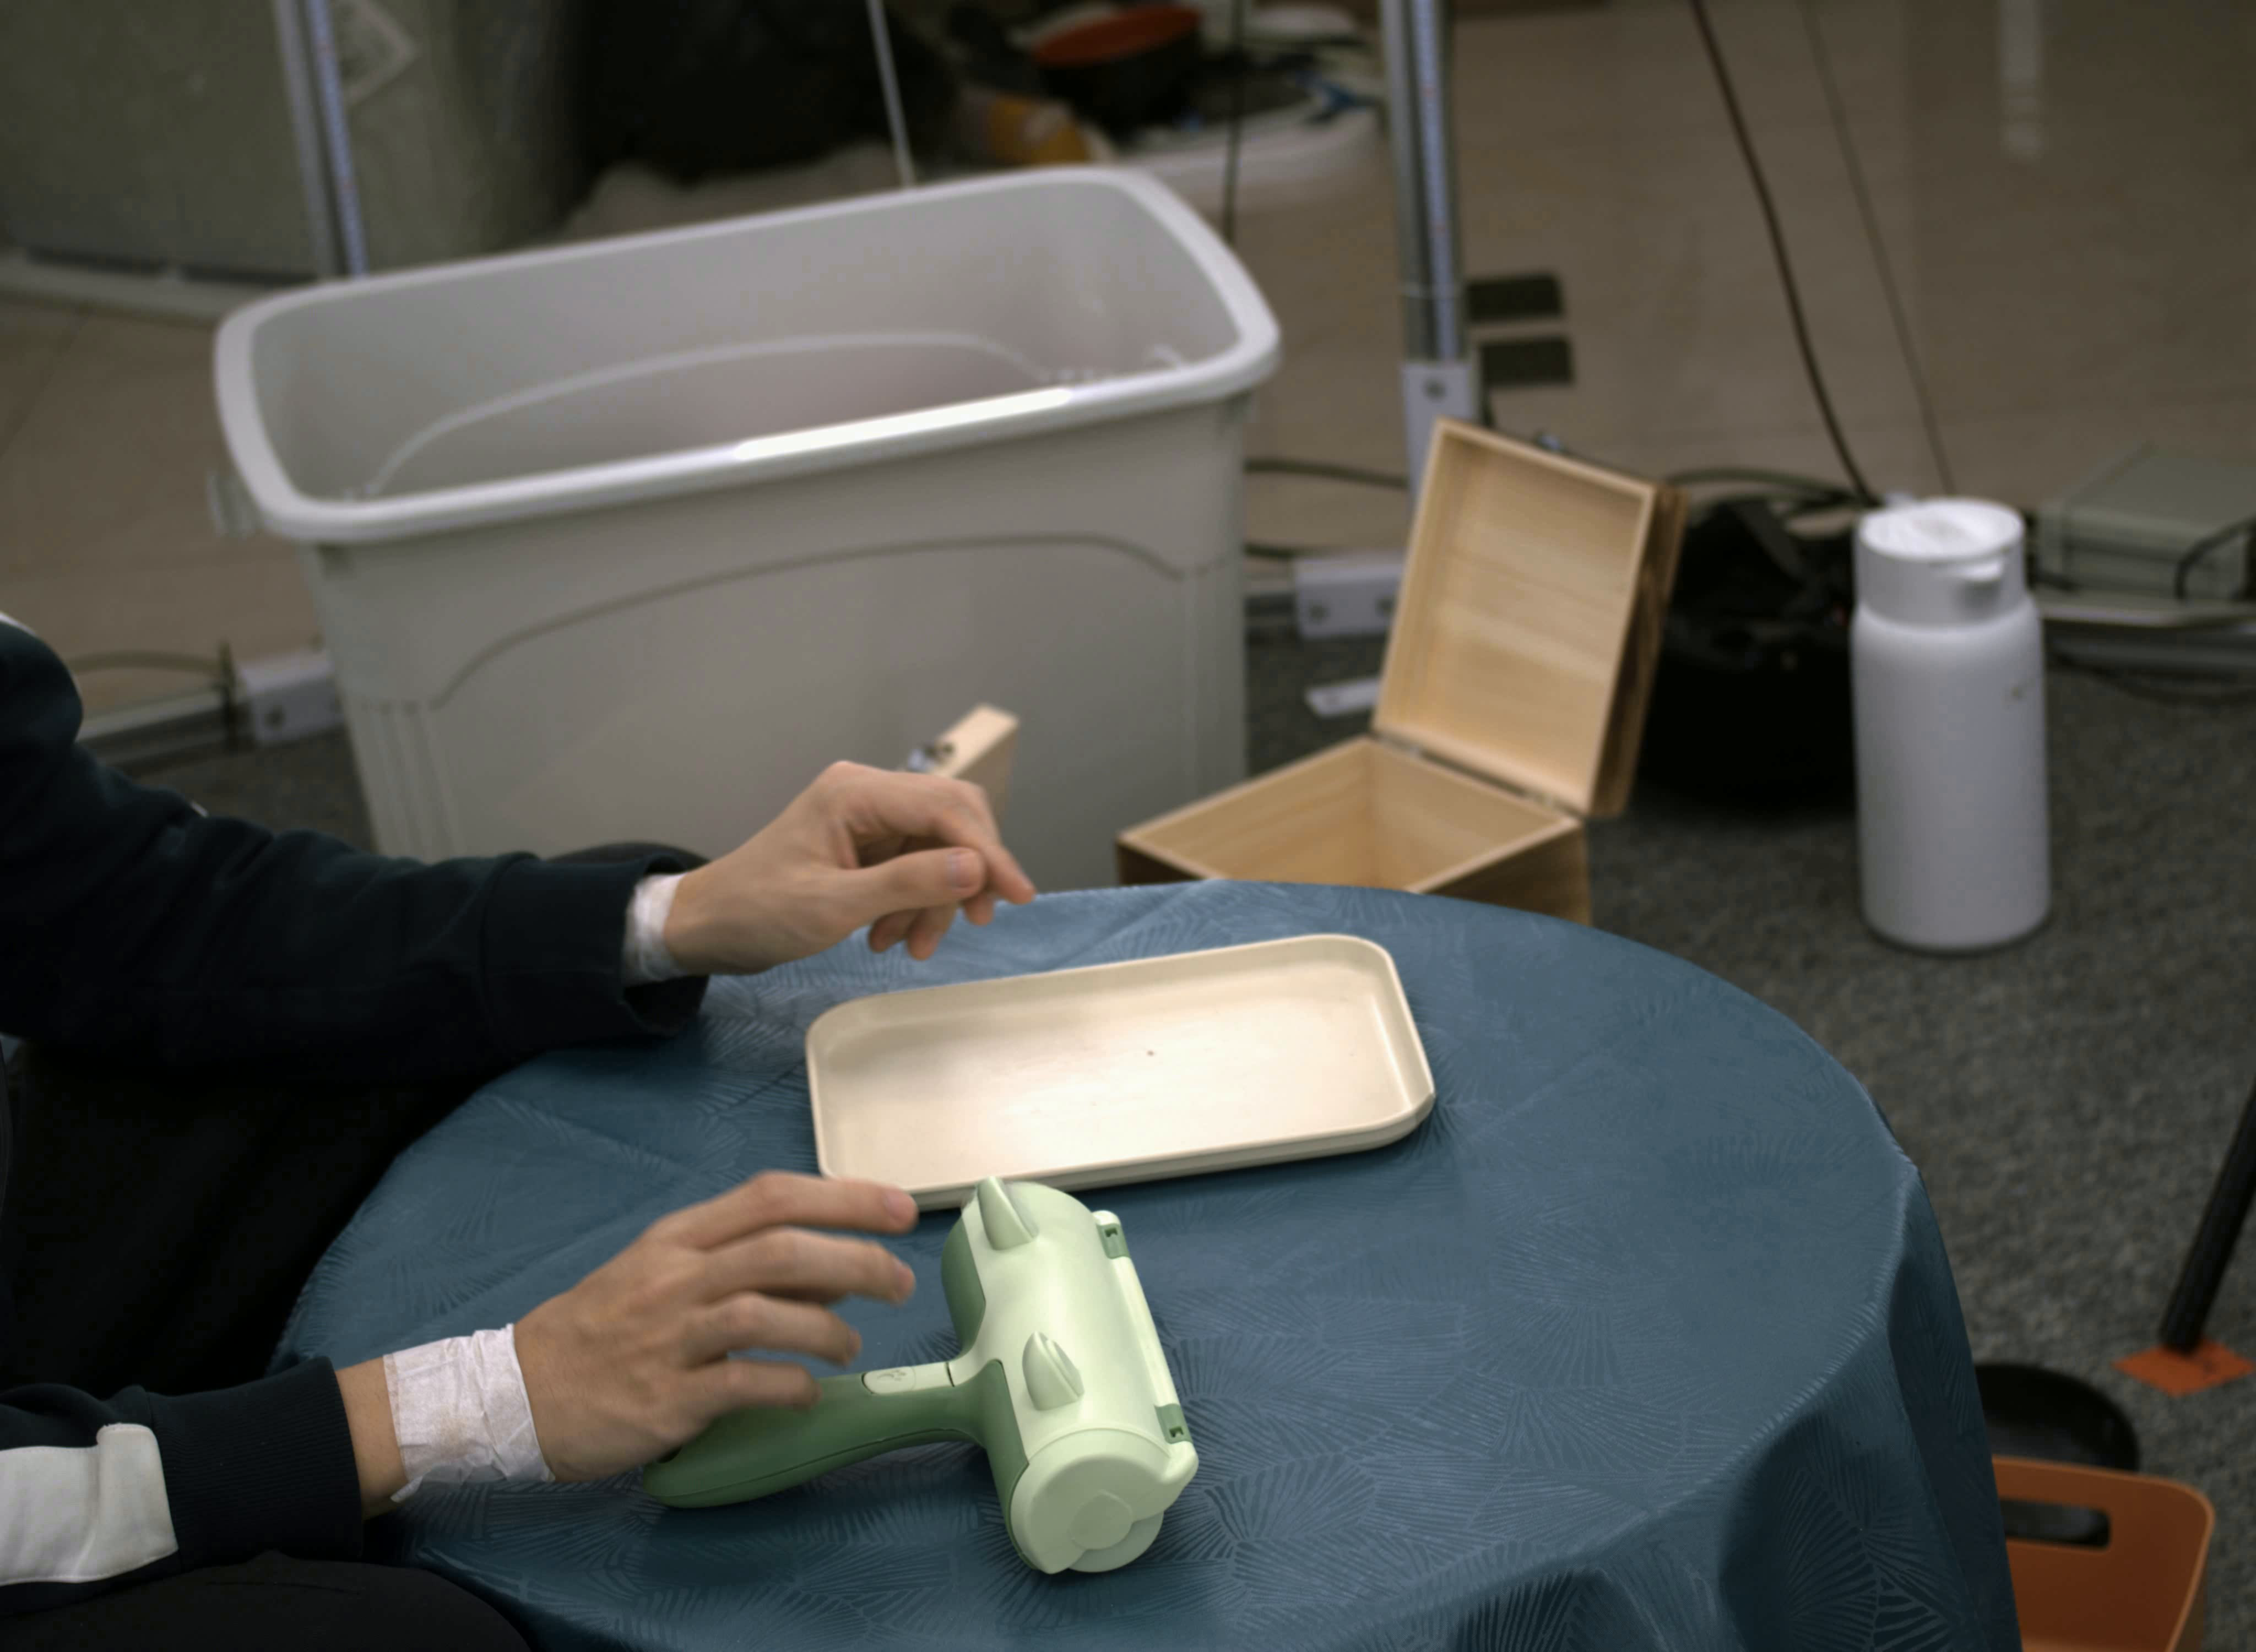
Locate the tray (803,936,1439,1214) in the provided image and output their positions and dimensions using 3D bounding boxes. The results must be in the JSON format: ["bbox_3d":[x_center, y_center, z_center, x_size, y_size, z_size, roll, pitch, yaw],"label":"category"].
[{"bbox_3d":[-0.005,0.097,2.213,0.239,0.018,0.169,-8,24,-3],"label":"tray"}]

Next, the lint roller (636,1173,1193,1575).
[{"bbox_3d":[-0.081,0.188,1.966,0.183,0.083,0.196,-5,25,-7],"label":"lint roller"}]
